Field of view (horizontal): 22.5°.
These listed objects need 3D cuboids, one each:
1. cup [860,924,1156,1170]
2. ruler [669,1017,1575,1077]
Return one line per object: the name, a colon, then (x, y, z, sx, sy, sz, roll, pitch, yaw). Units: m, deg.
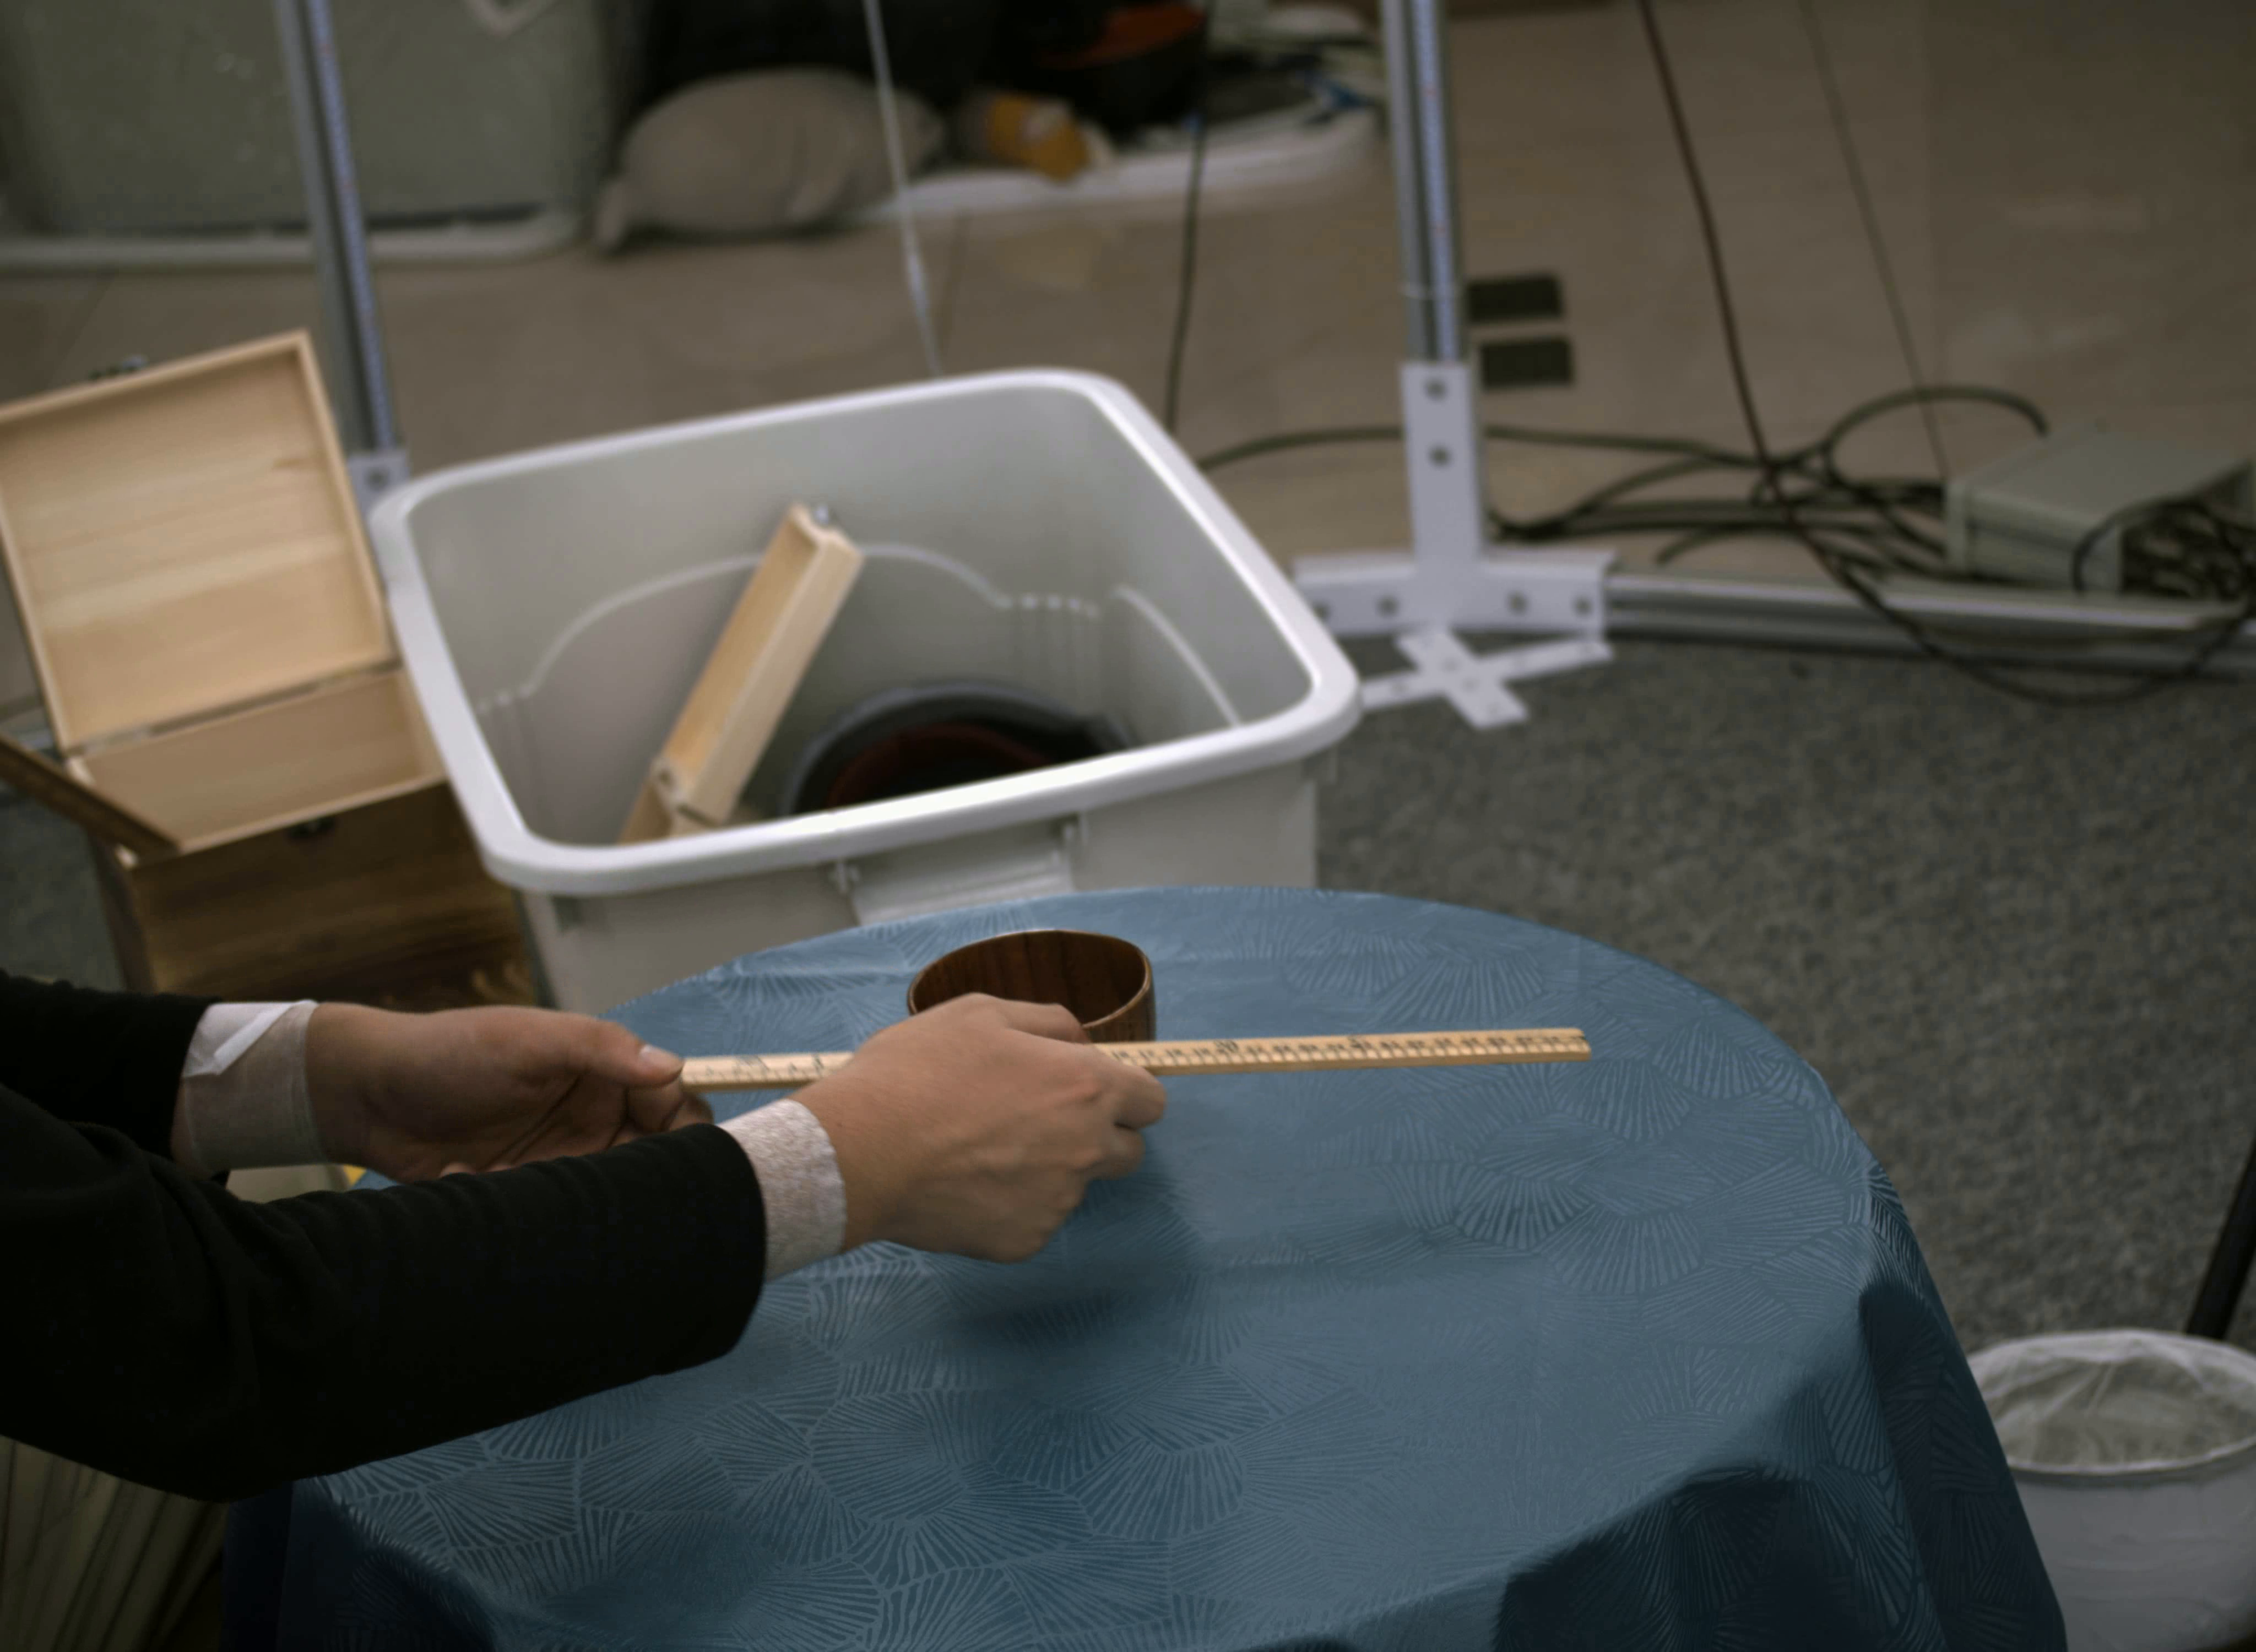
cup: (-0.046, 0.091, 2.184, 0.119, 0.069, 0.095, -16, 29, -16)
ruler: (-0.002, 0.081, 2.077, 0.331, 0.022, 0.027, 0, 15, -3)
